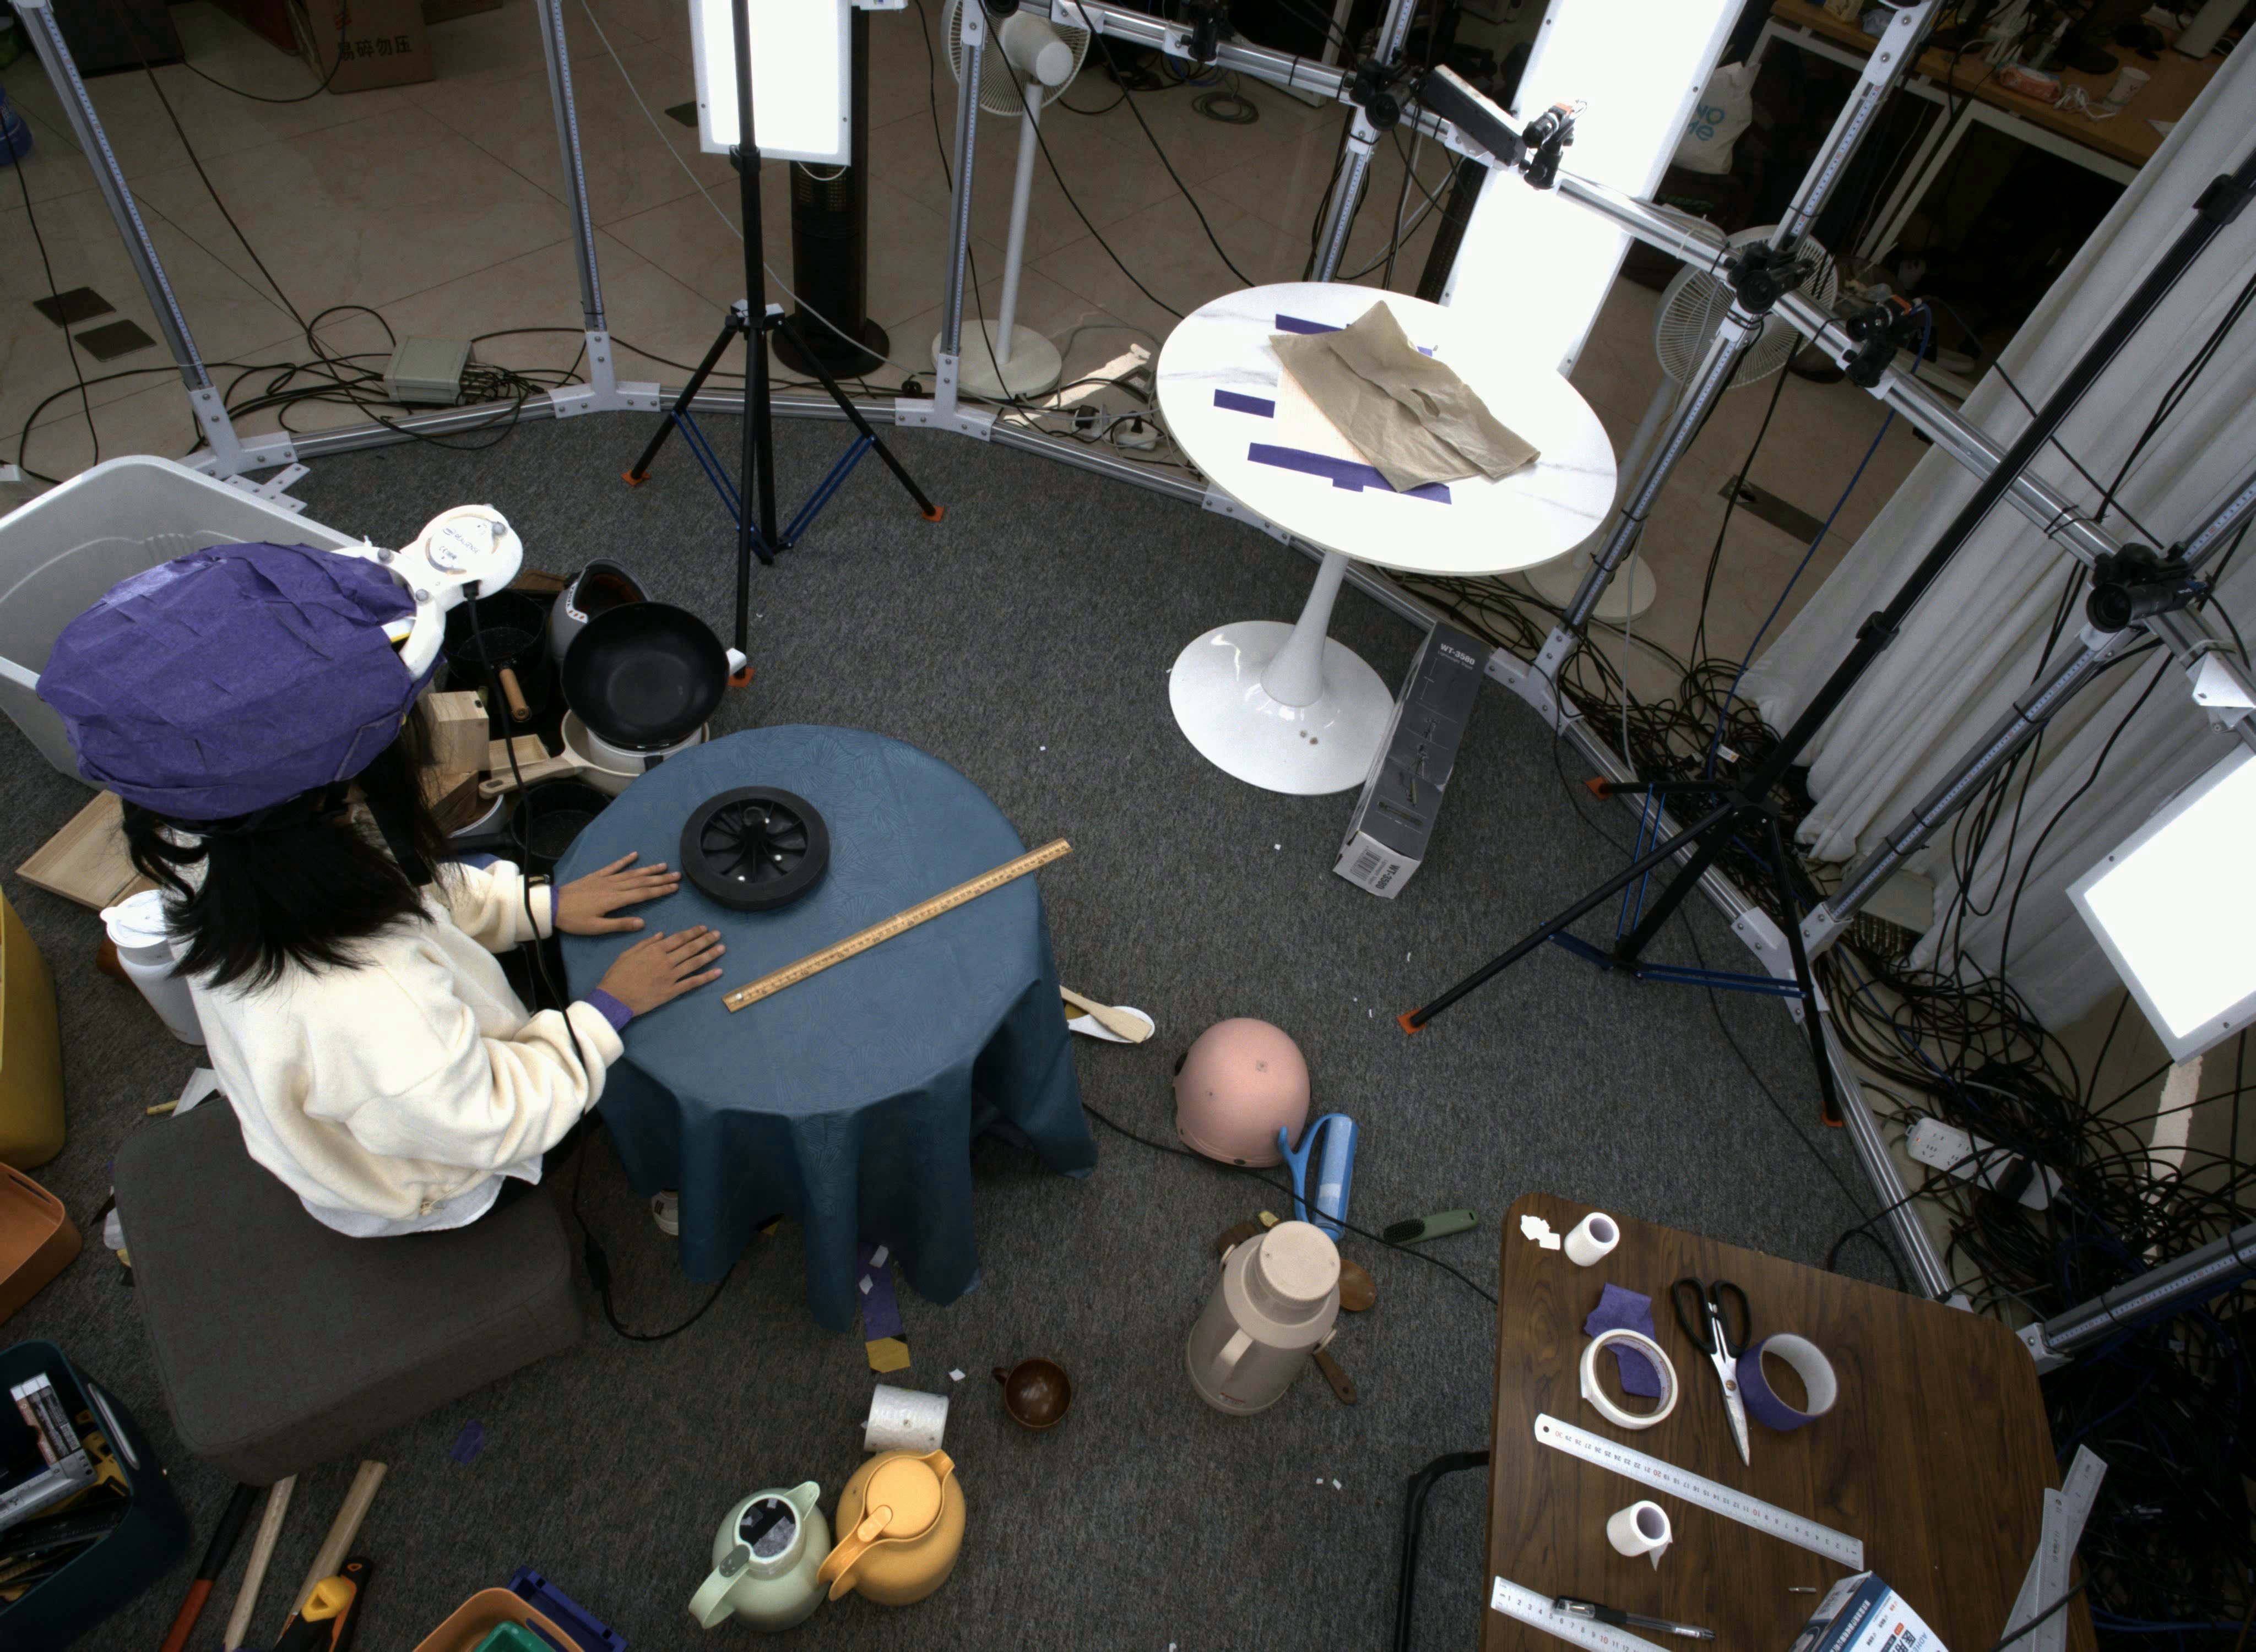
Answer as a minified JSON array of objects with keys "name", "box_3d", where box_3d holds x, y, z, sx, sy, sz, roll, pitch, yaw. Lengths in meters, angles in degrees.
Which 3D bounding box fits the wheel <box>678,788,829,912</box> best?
[{"name":"wheel","box_3d":[-0.478,0.013,1.646,0.188,0.081,0.186,21,51,3]}]

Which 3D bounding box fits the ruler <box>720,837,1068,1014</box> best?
[{"name":"ruler","box_3d":[-0.284,0.119,1.664,0.503,0.006,0.026,-26,65,-29]}]
